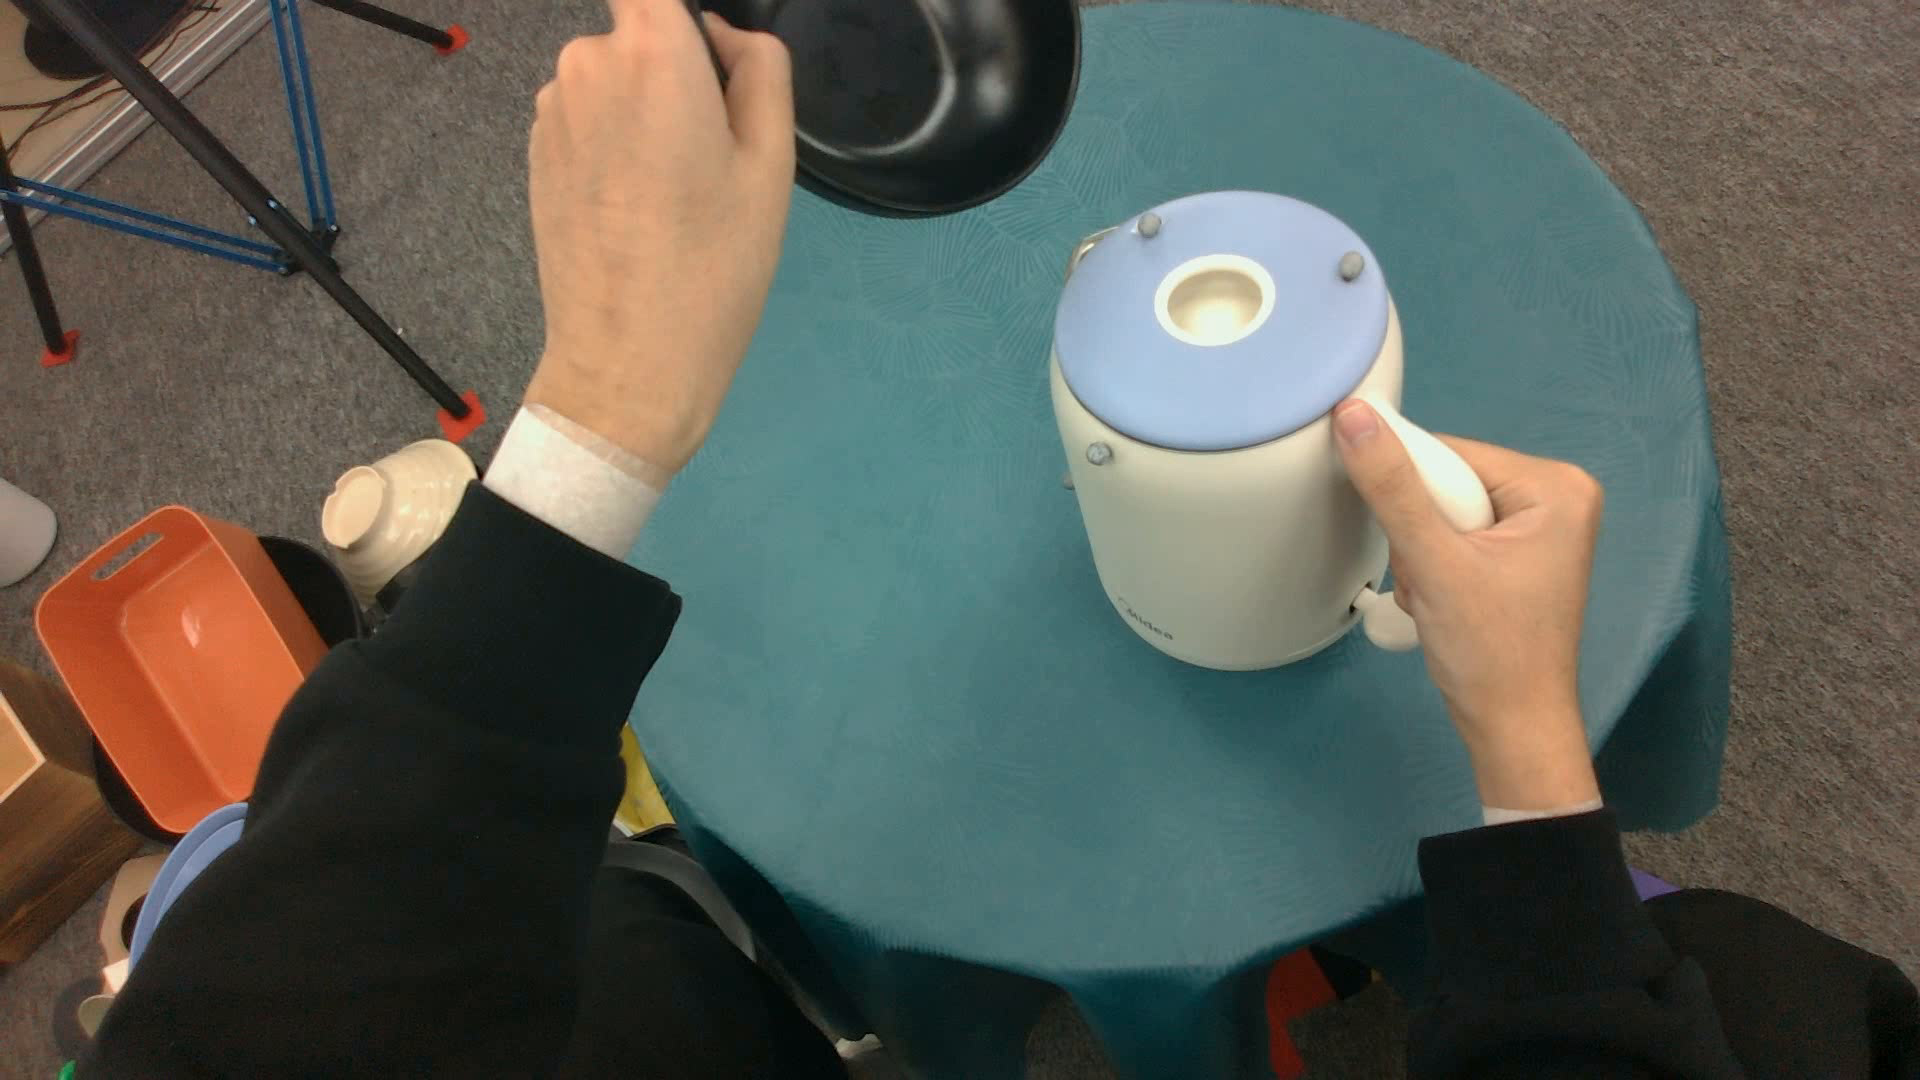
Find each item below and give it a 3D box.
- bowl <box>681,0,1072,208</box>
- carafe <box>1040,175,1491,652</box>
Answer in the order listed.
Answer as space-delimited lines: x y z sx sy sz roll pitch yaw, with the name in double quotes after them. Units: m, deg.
-0.033 -0.178 0.477 0.140 0.049 0.140 2 85 -25 "bowl"
0.124 -0.034 0.555 0.191 0.182 0.132 34 73 27 "carafe"
